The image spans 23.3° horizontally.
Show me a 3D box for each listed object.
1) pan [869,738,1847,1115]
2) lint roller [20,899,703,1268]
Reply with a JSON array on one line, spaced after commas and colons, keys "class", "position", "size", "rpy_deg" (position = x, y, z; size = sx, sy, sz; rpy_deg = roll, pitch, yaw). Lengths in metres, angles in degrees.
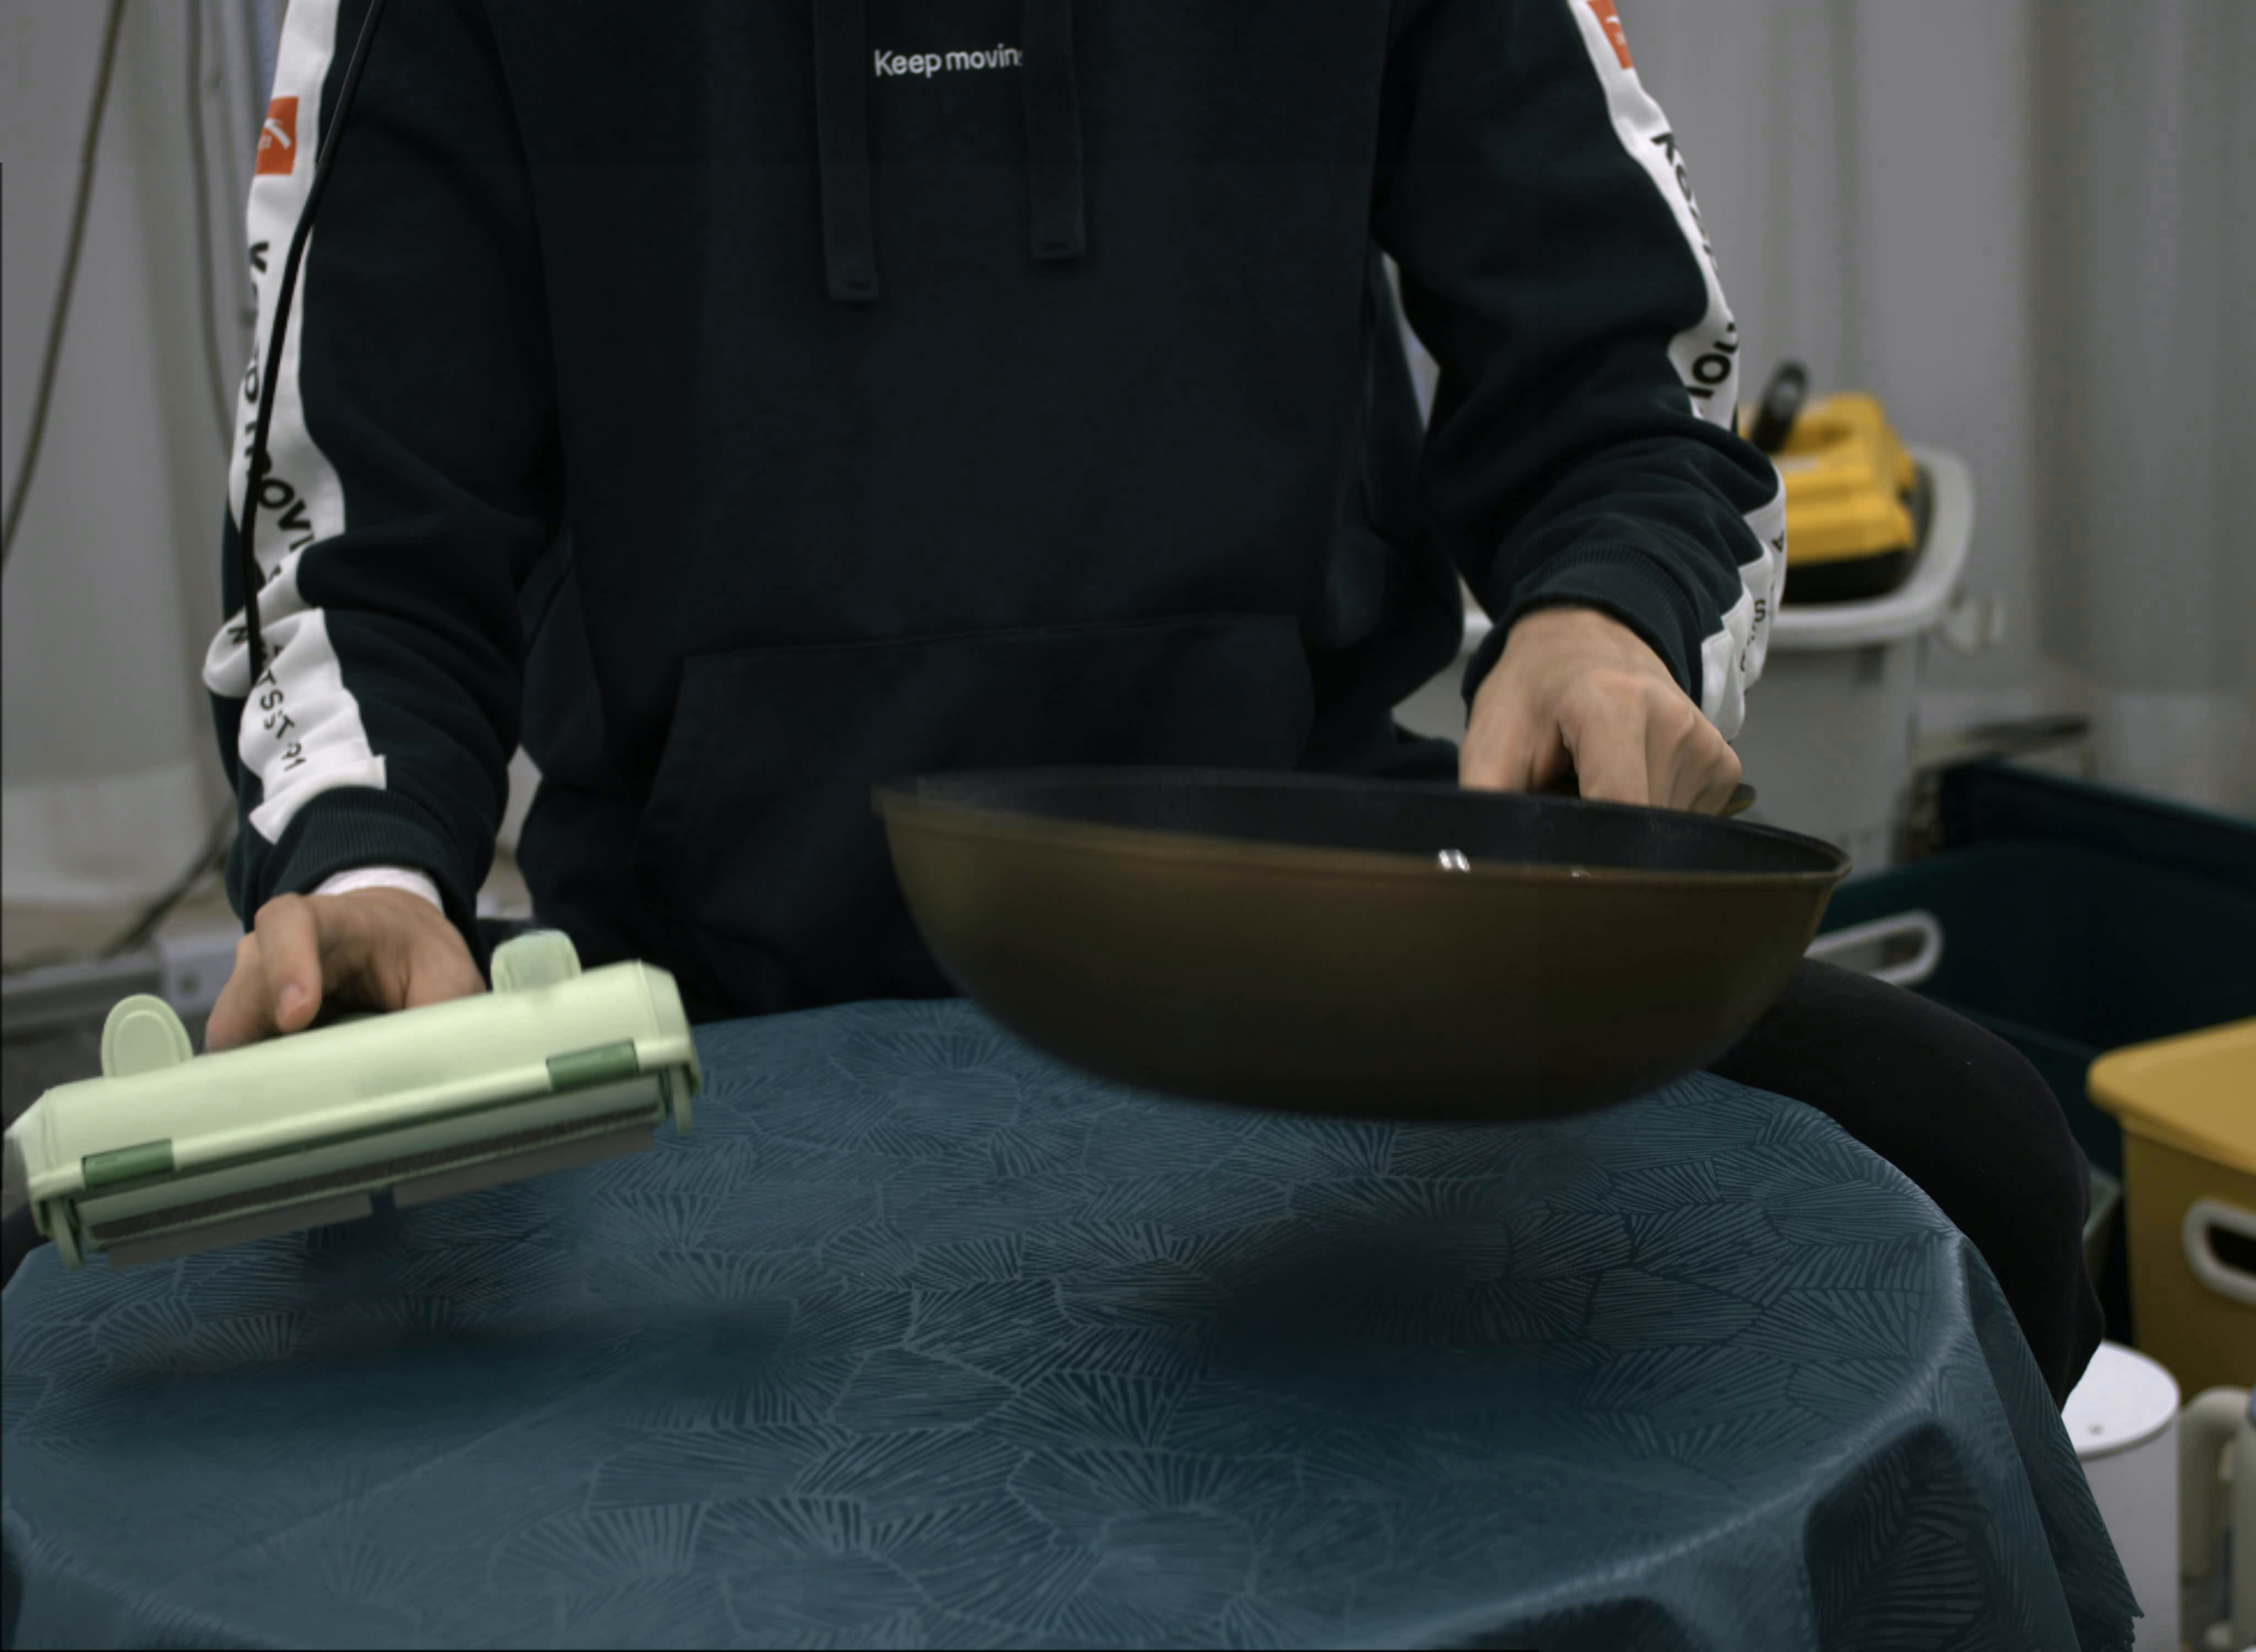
[{"class": "pan", "position": [0.098, 0.028, 1.657], "size": [0.289, 0.087, 0.461], "rpy_deg": [8, 5, 24]}, {"class": "lint roller", "position": [-0.235, 0.062, 1.656], "size": [0.198, 0.082, 0.185], "rpy_deg": [-13, 17, -7]}]
